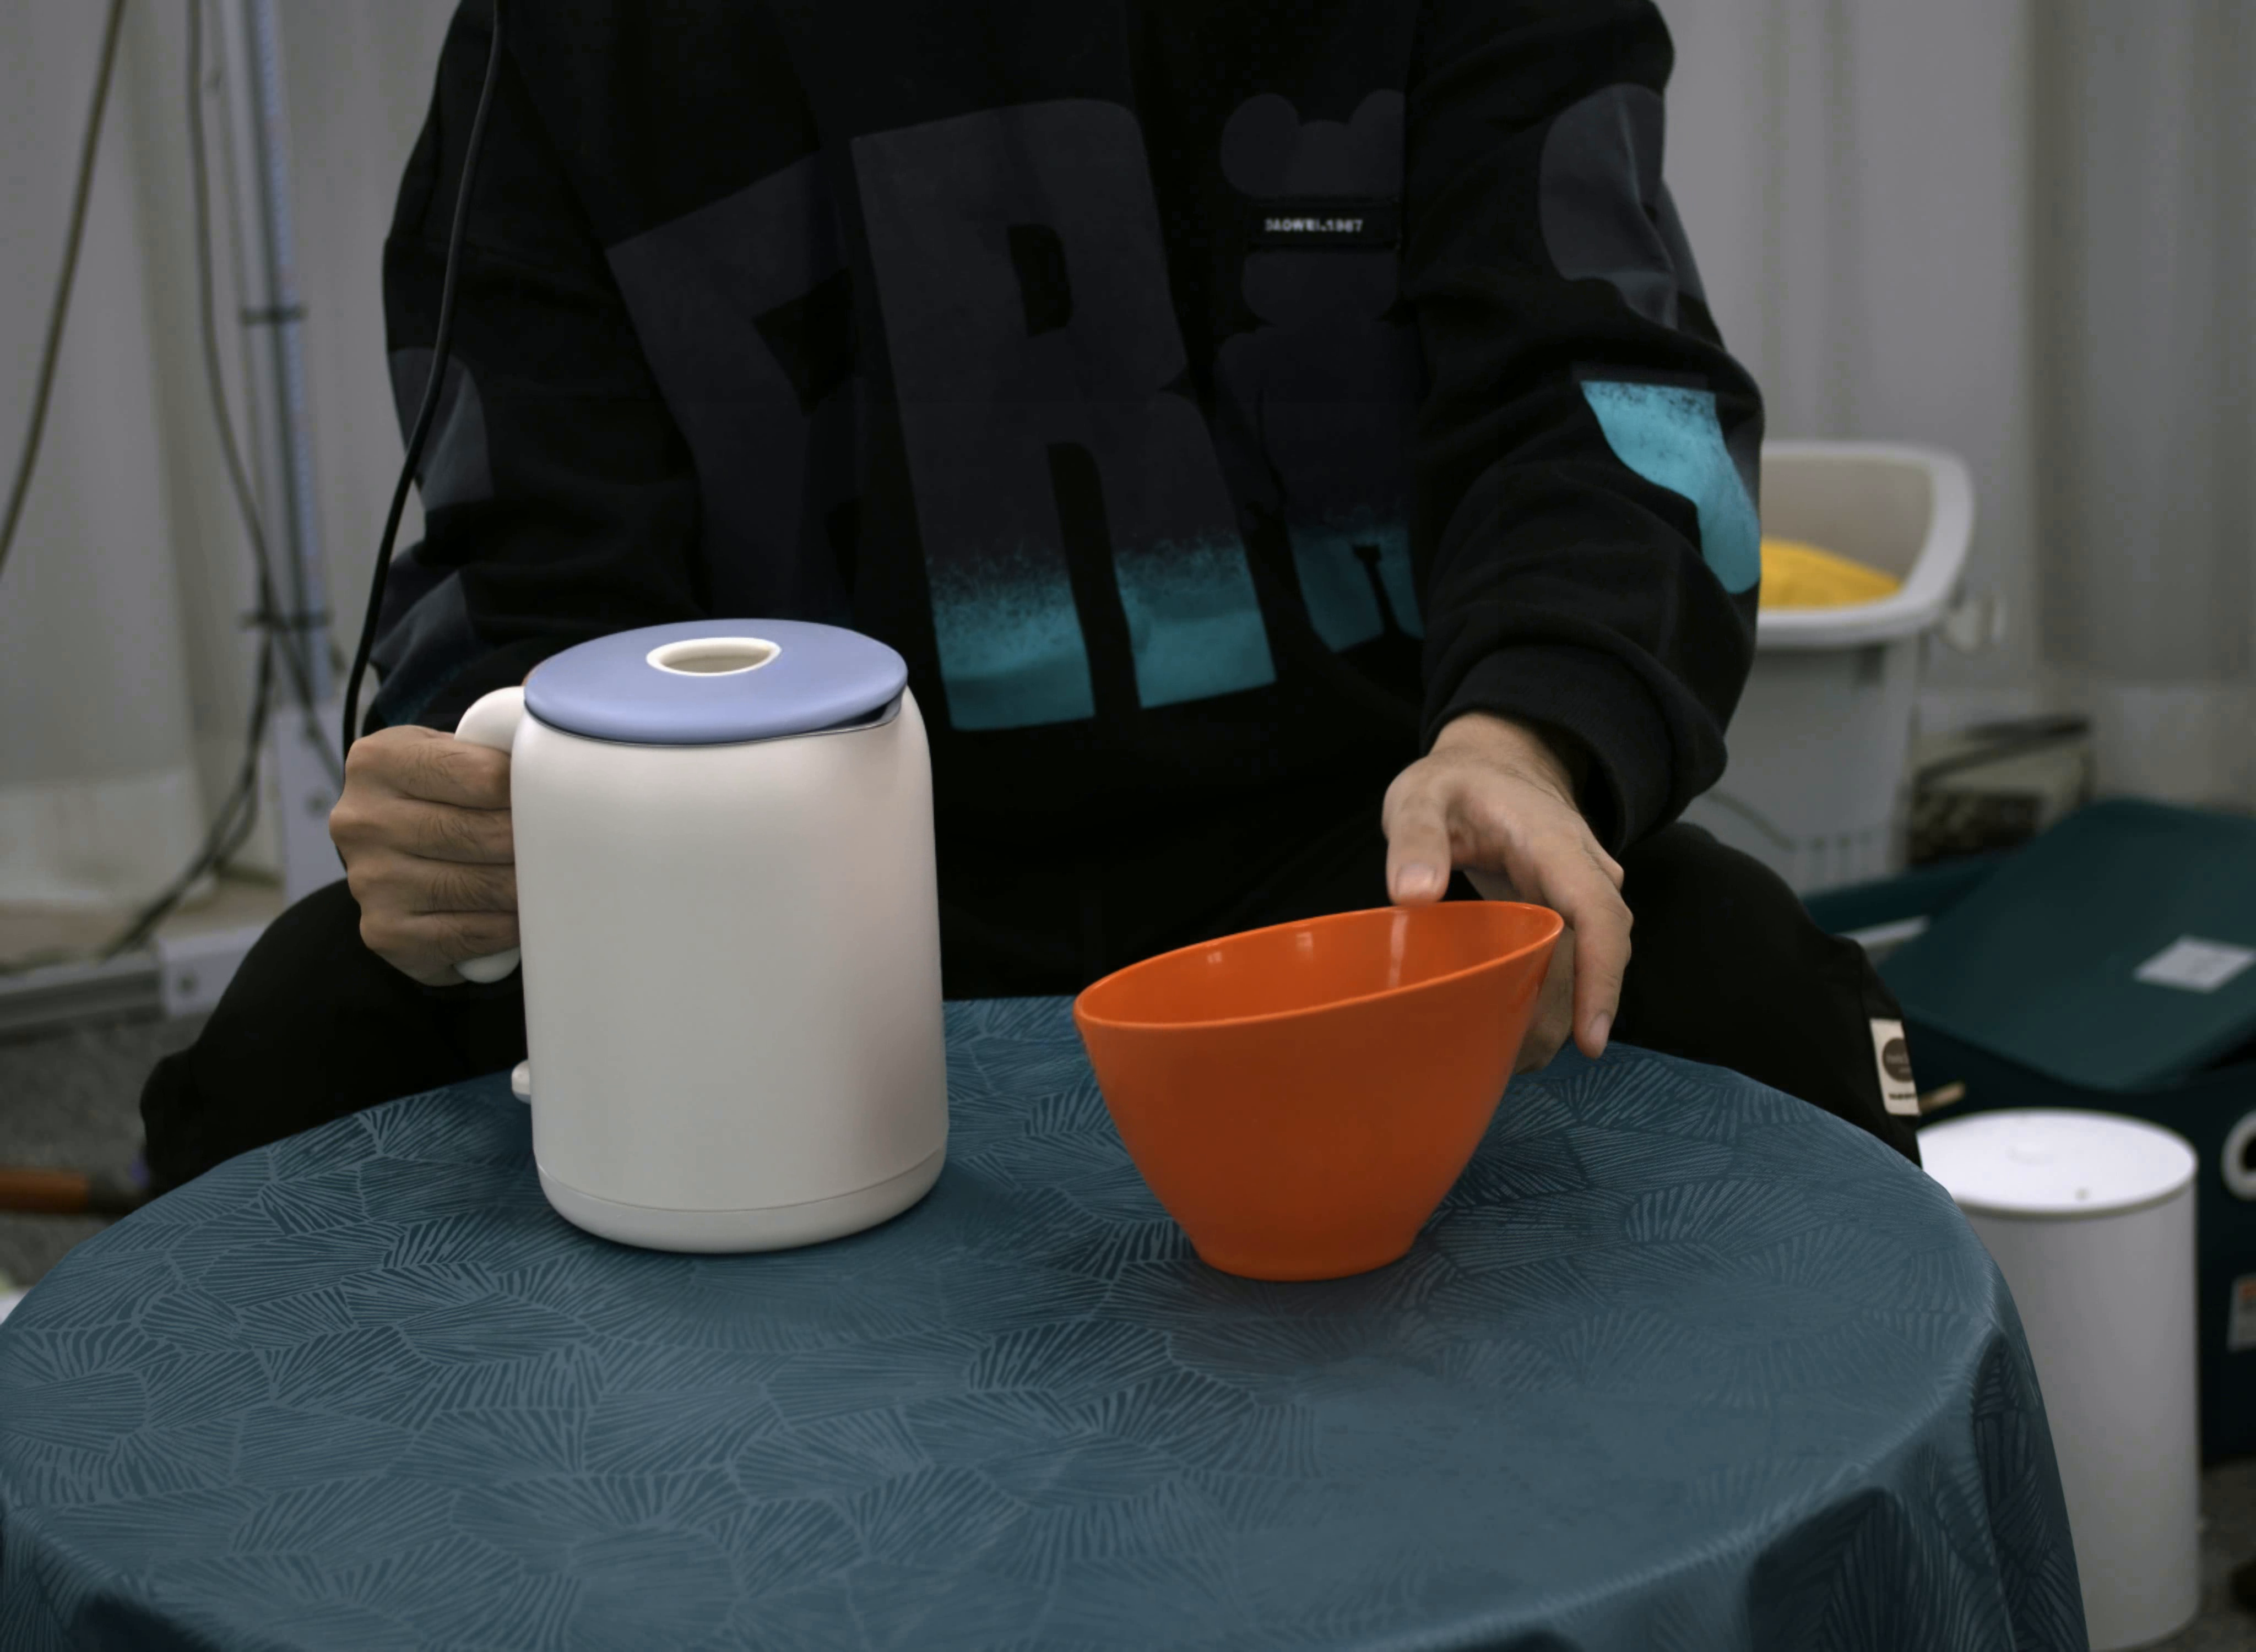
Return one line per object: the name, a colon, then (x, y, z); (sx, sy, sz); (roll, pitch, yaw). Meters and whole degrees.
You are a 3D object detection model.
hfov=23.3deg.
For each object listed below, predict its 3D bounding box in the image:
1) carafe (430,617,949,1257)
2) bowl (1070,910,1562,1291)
carafe: (-0.144, 0.031, 1.719); (0.192, 0.182, 0.132); (7, 17, 35)
bowl: (0.057, 0.082, 1.634); (0.147, 0.104, 0.149); (-3, 15, 0)
